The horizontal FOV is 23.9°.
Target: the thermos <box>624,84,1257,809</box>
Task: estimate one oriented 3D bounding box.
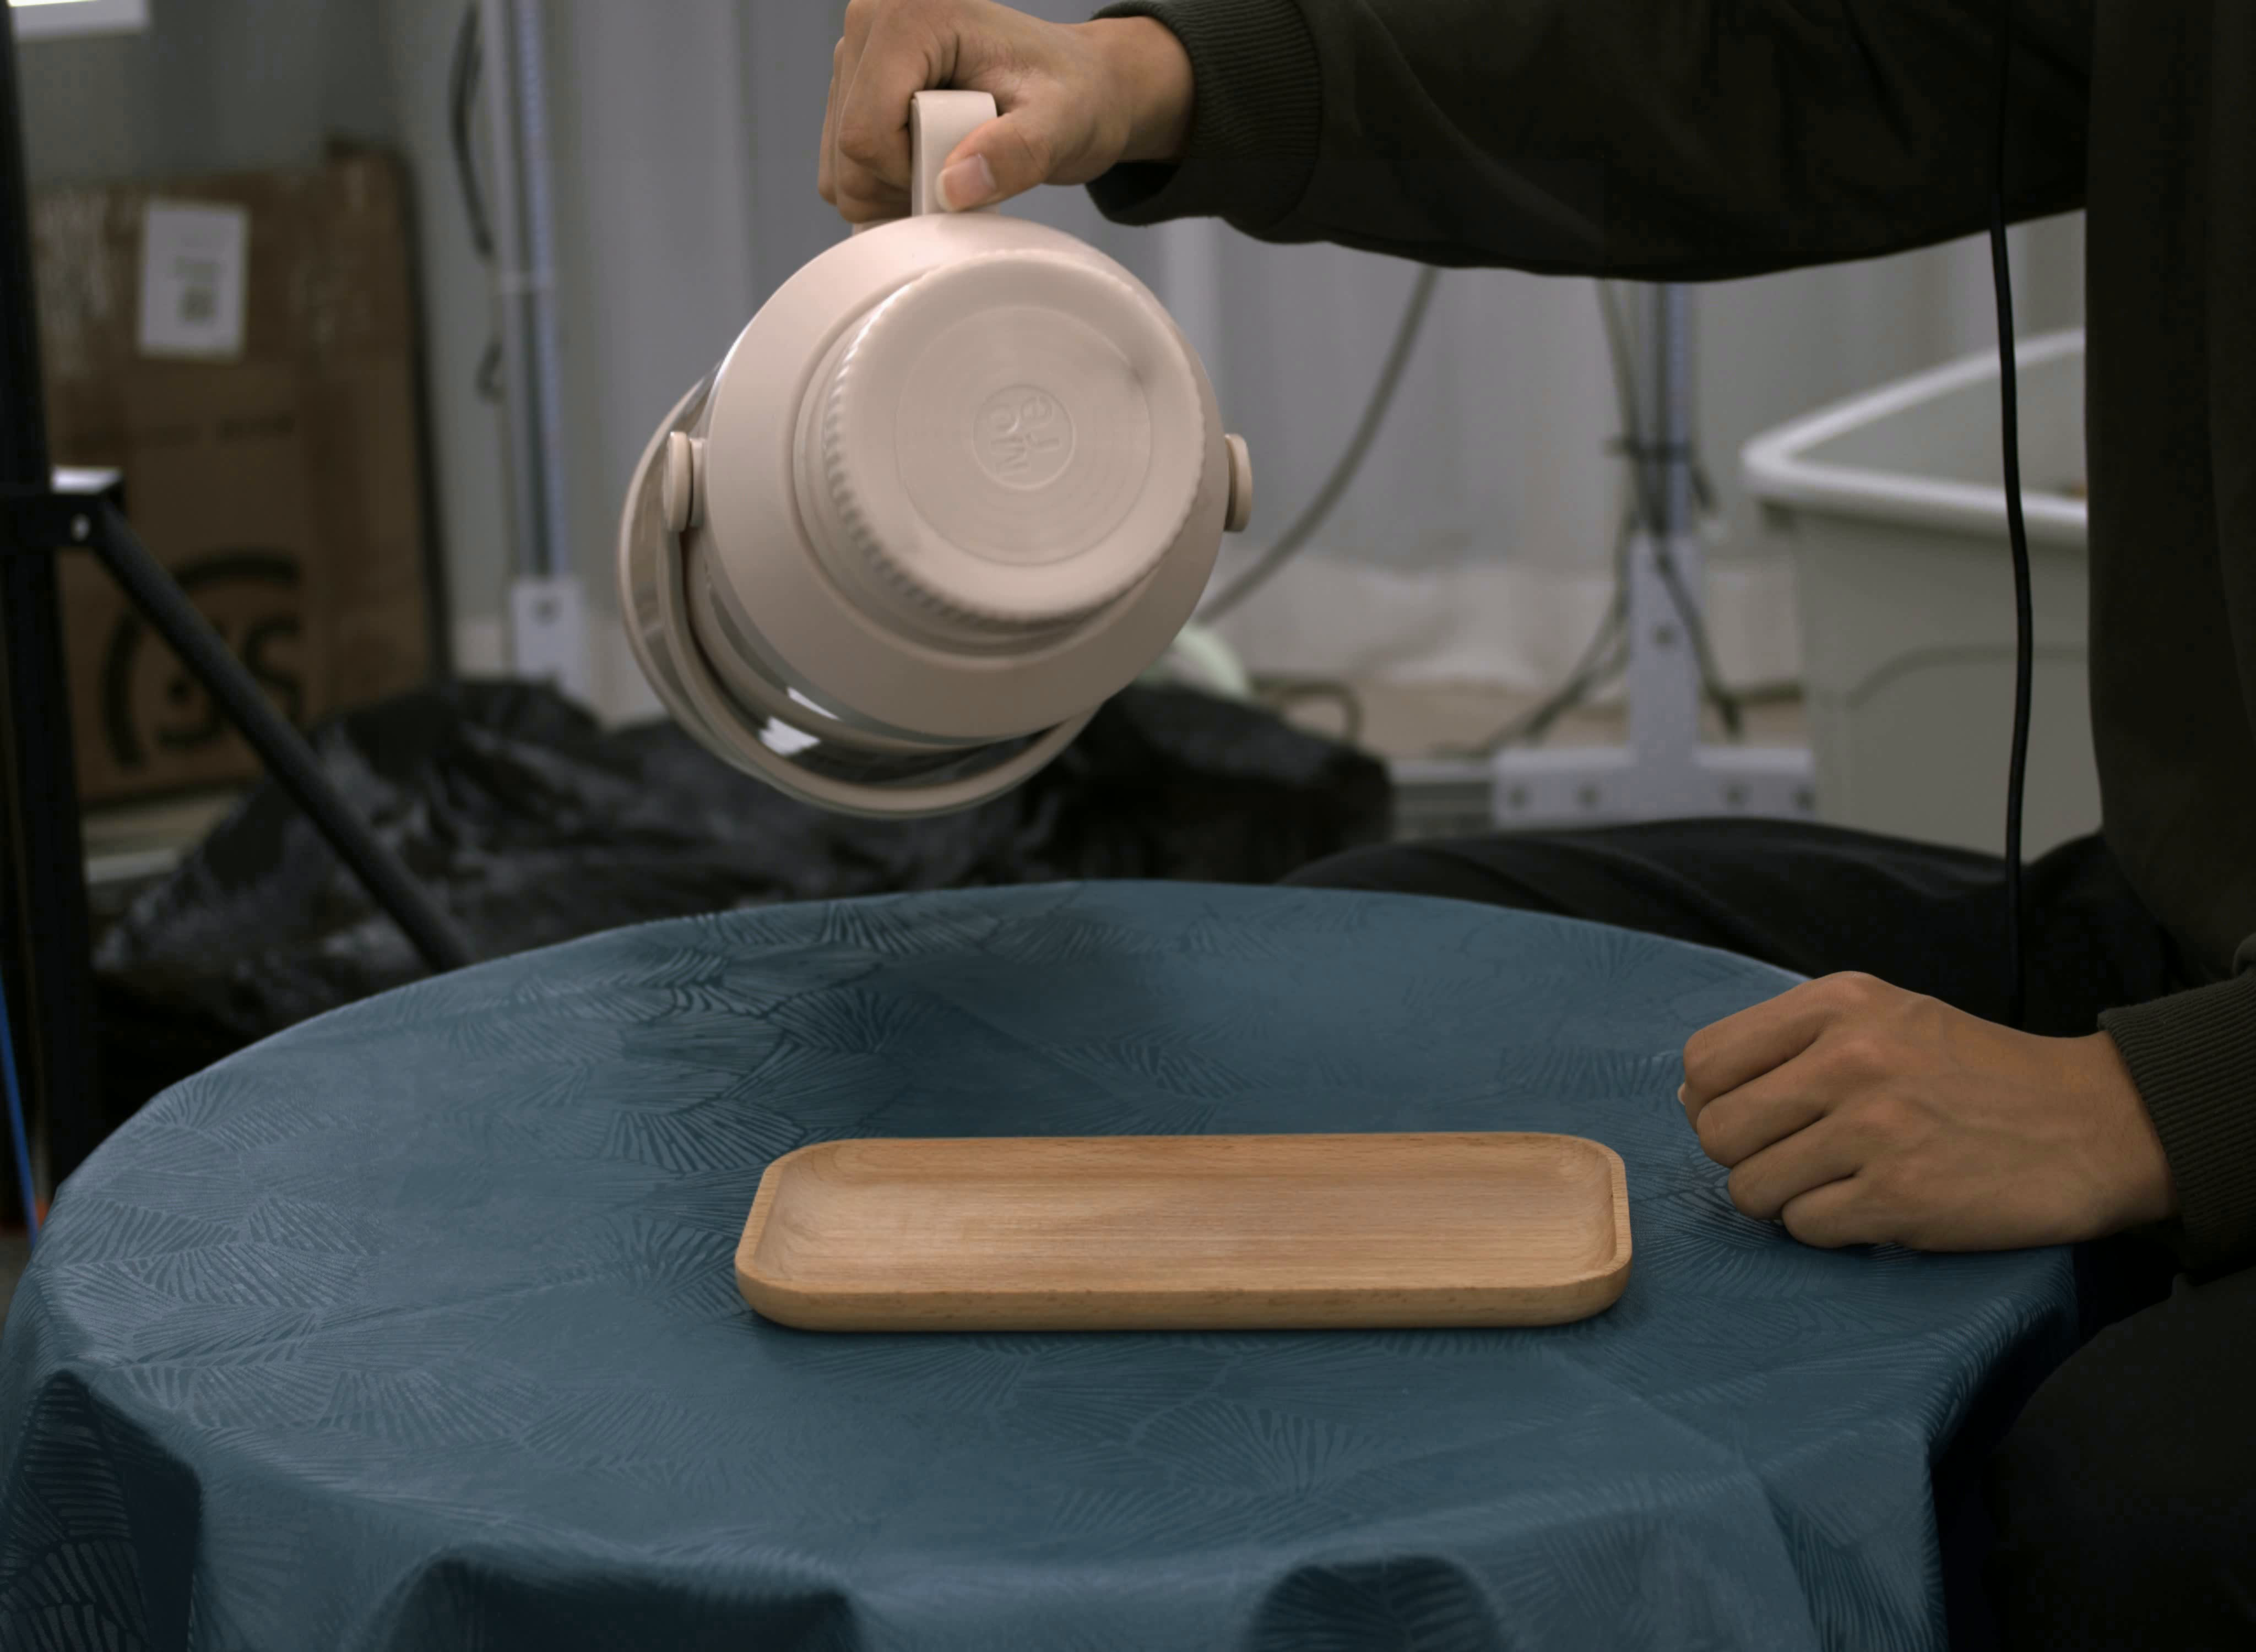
[{"bbox_3d":[-0.061,-0.113,1.665,0.173,0.208,0.408,-1,-3,-9],"label":"thermos"}]

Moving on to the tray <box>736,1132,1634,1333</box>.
[{"bbox_3d":[0.018,0.115,1.503,0.251,0.023,0.130,0,18,6],"label":"tray"}]
